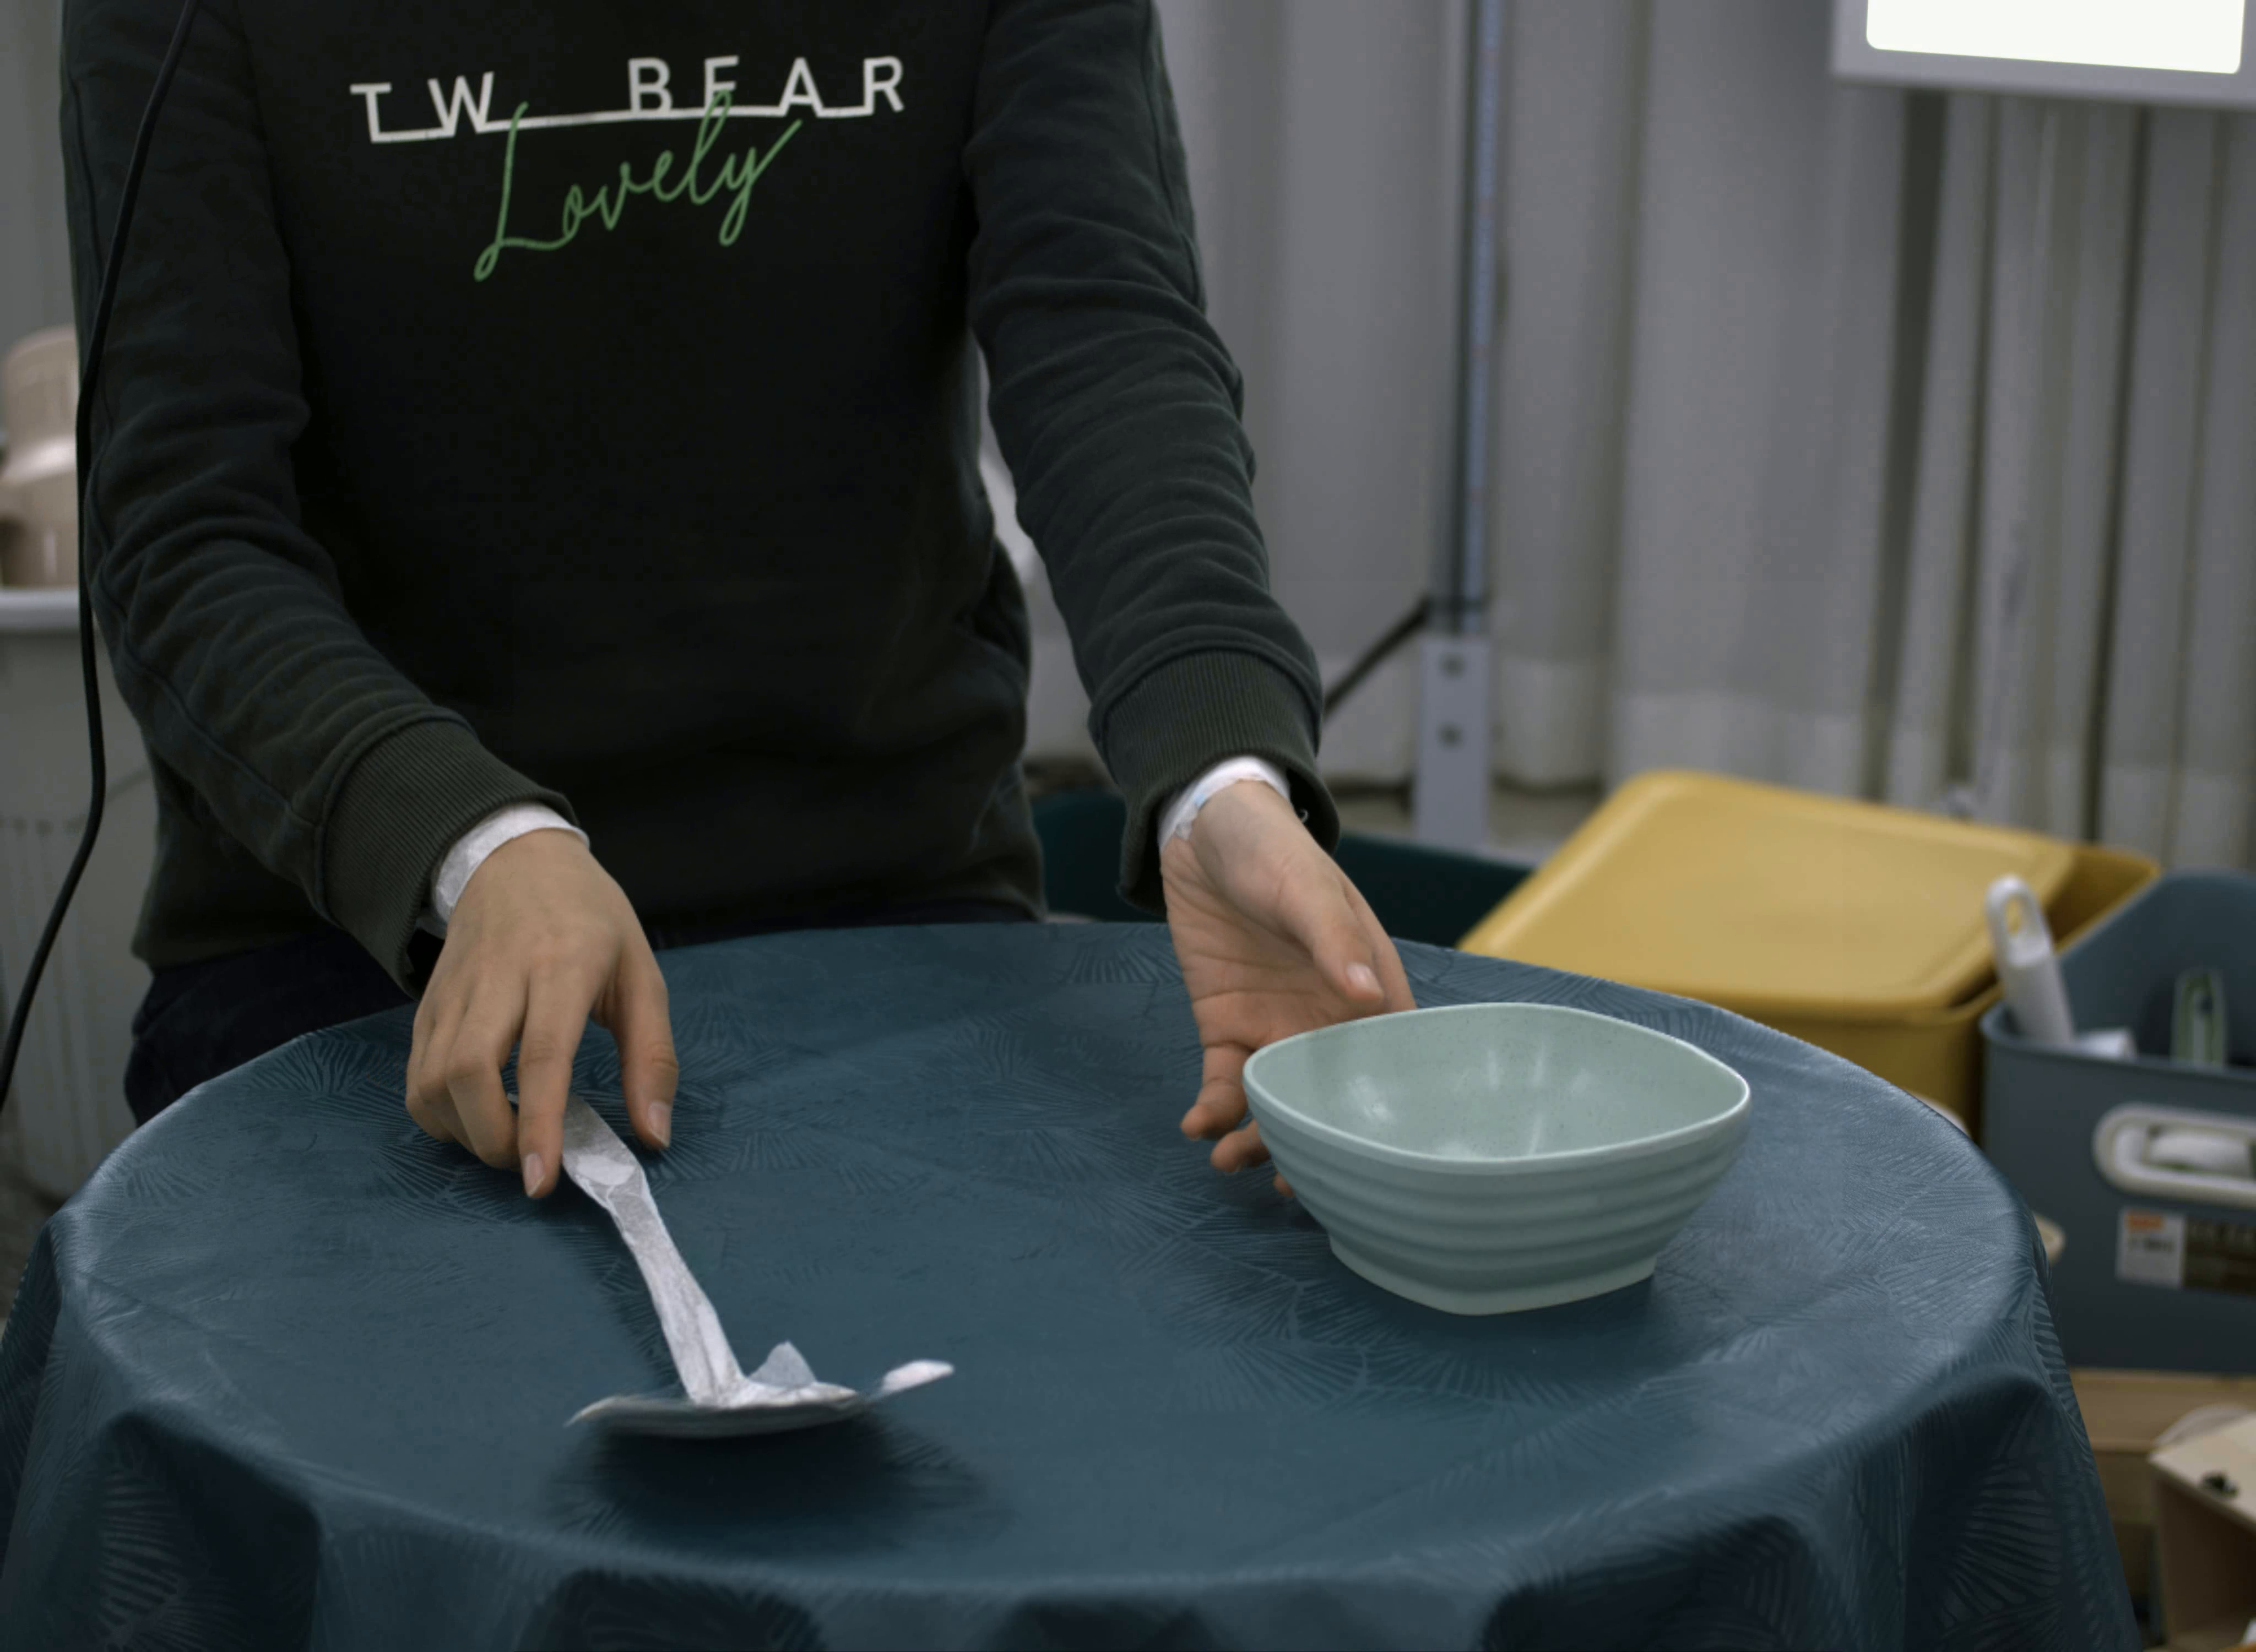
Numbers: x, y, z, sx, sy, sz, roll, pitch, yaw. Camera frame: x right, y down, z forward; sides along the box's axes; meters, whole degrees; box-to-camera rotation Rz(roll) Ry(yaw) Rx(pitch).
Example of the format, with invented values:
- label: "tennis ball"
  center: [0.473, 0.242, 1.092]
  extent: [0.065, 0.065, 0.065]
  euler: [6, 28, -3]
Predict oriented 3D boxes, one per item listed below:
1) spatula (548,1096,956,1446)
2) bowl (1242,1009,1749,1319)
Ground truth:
- label: "spatula"
  center: [-0.134, 0.119, 1.526]
  extent: [0.099, 0.045, 0.361]
  euler: [-6, 17, -15]
- label: "bowl"
  center: [0.106, 0.103, 1.562]
  extent: [0.151, 0.059, 0.150]
  euler: [4, 15, 0]
